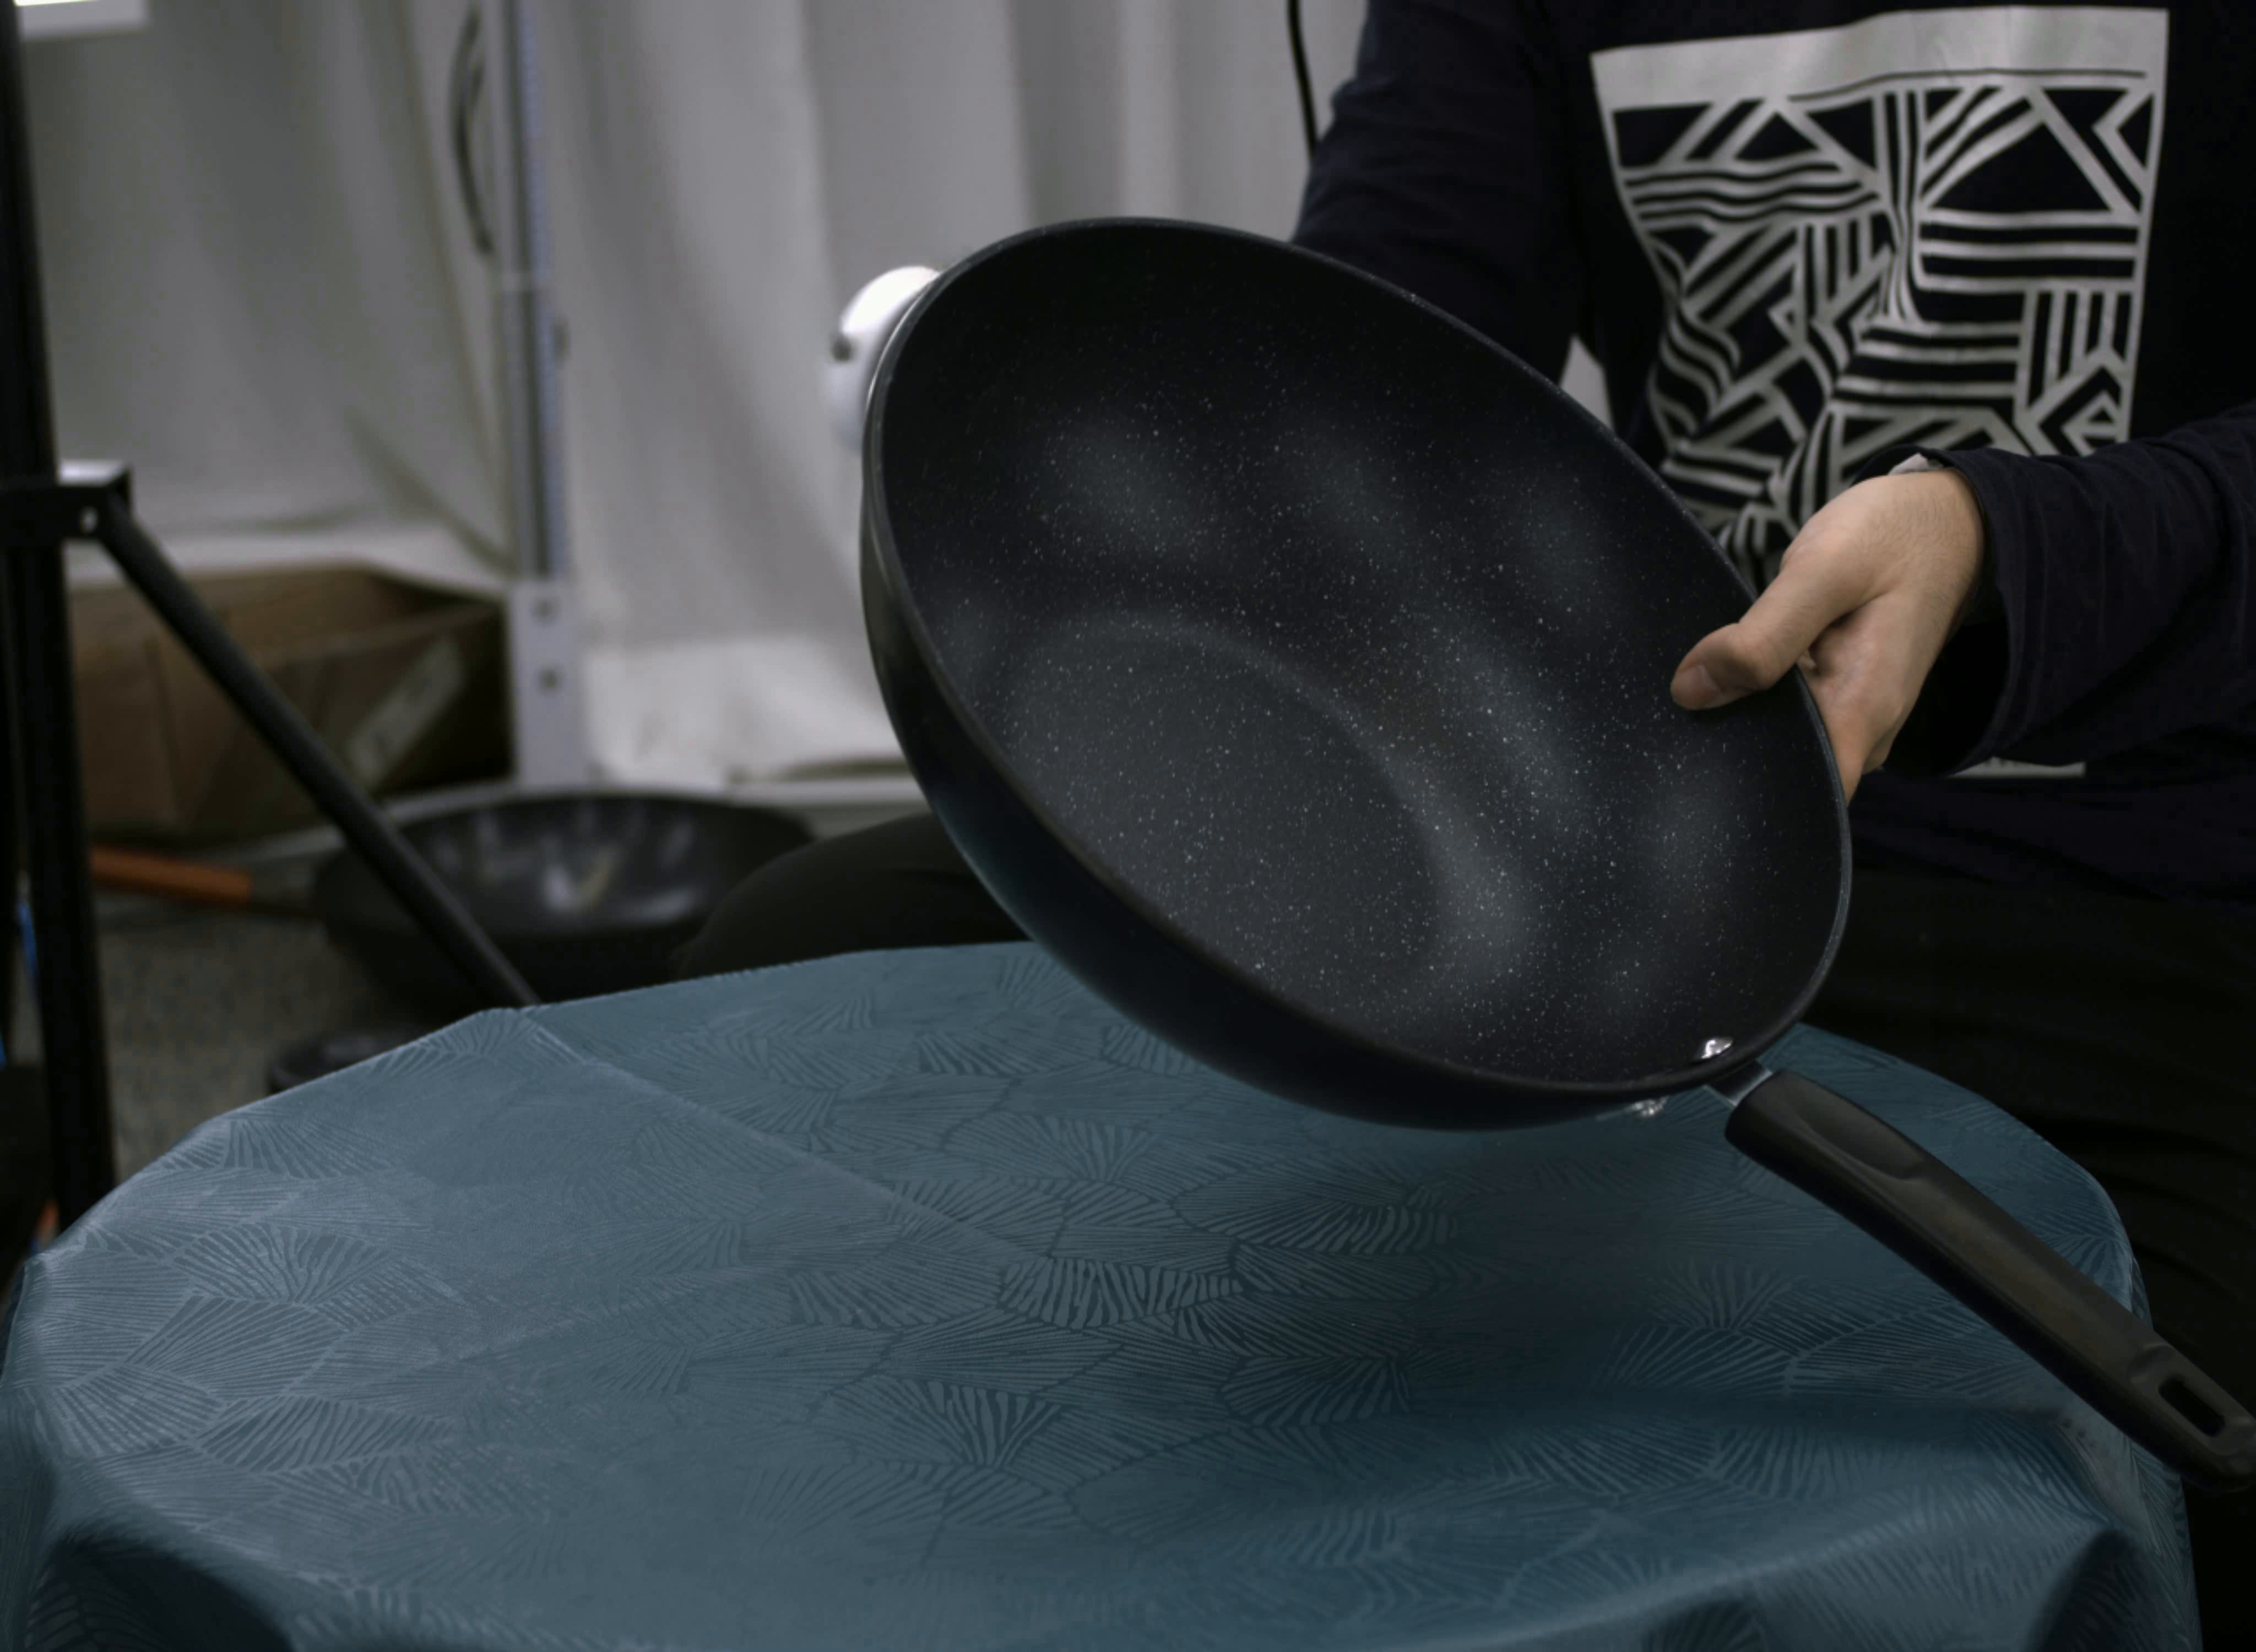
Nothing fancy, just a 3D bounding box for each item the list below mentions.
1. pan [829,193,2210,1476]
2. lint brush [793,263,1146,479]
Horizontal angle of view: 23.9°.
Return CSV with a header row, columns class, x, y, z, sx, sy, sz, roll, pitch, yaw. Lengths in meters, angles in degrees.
class,x,y,z,sx,sy,sz,roll,pitch,yaw
pan,0.102,0.023,1.432,0.482,0.112,0.304,48,42,15
lint brush,0.005,-0.129,1.576,0.021,0.060,0.301,18,11,36
